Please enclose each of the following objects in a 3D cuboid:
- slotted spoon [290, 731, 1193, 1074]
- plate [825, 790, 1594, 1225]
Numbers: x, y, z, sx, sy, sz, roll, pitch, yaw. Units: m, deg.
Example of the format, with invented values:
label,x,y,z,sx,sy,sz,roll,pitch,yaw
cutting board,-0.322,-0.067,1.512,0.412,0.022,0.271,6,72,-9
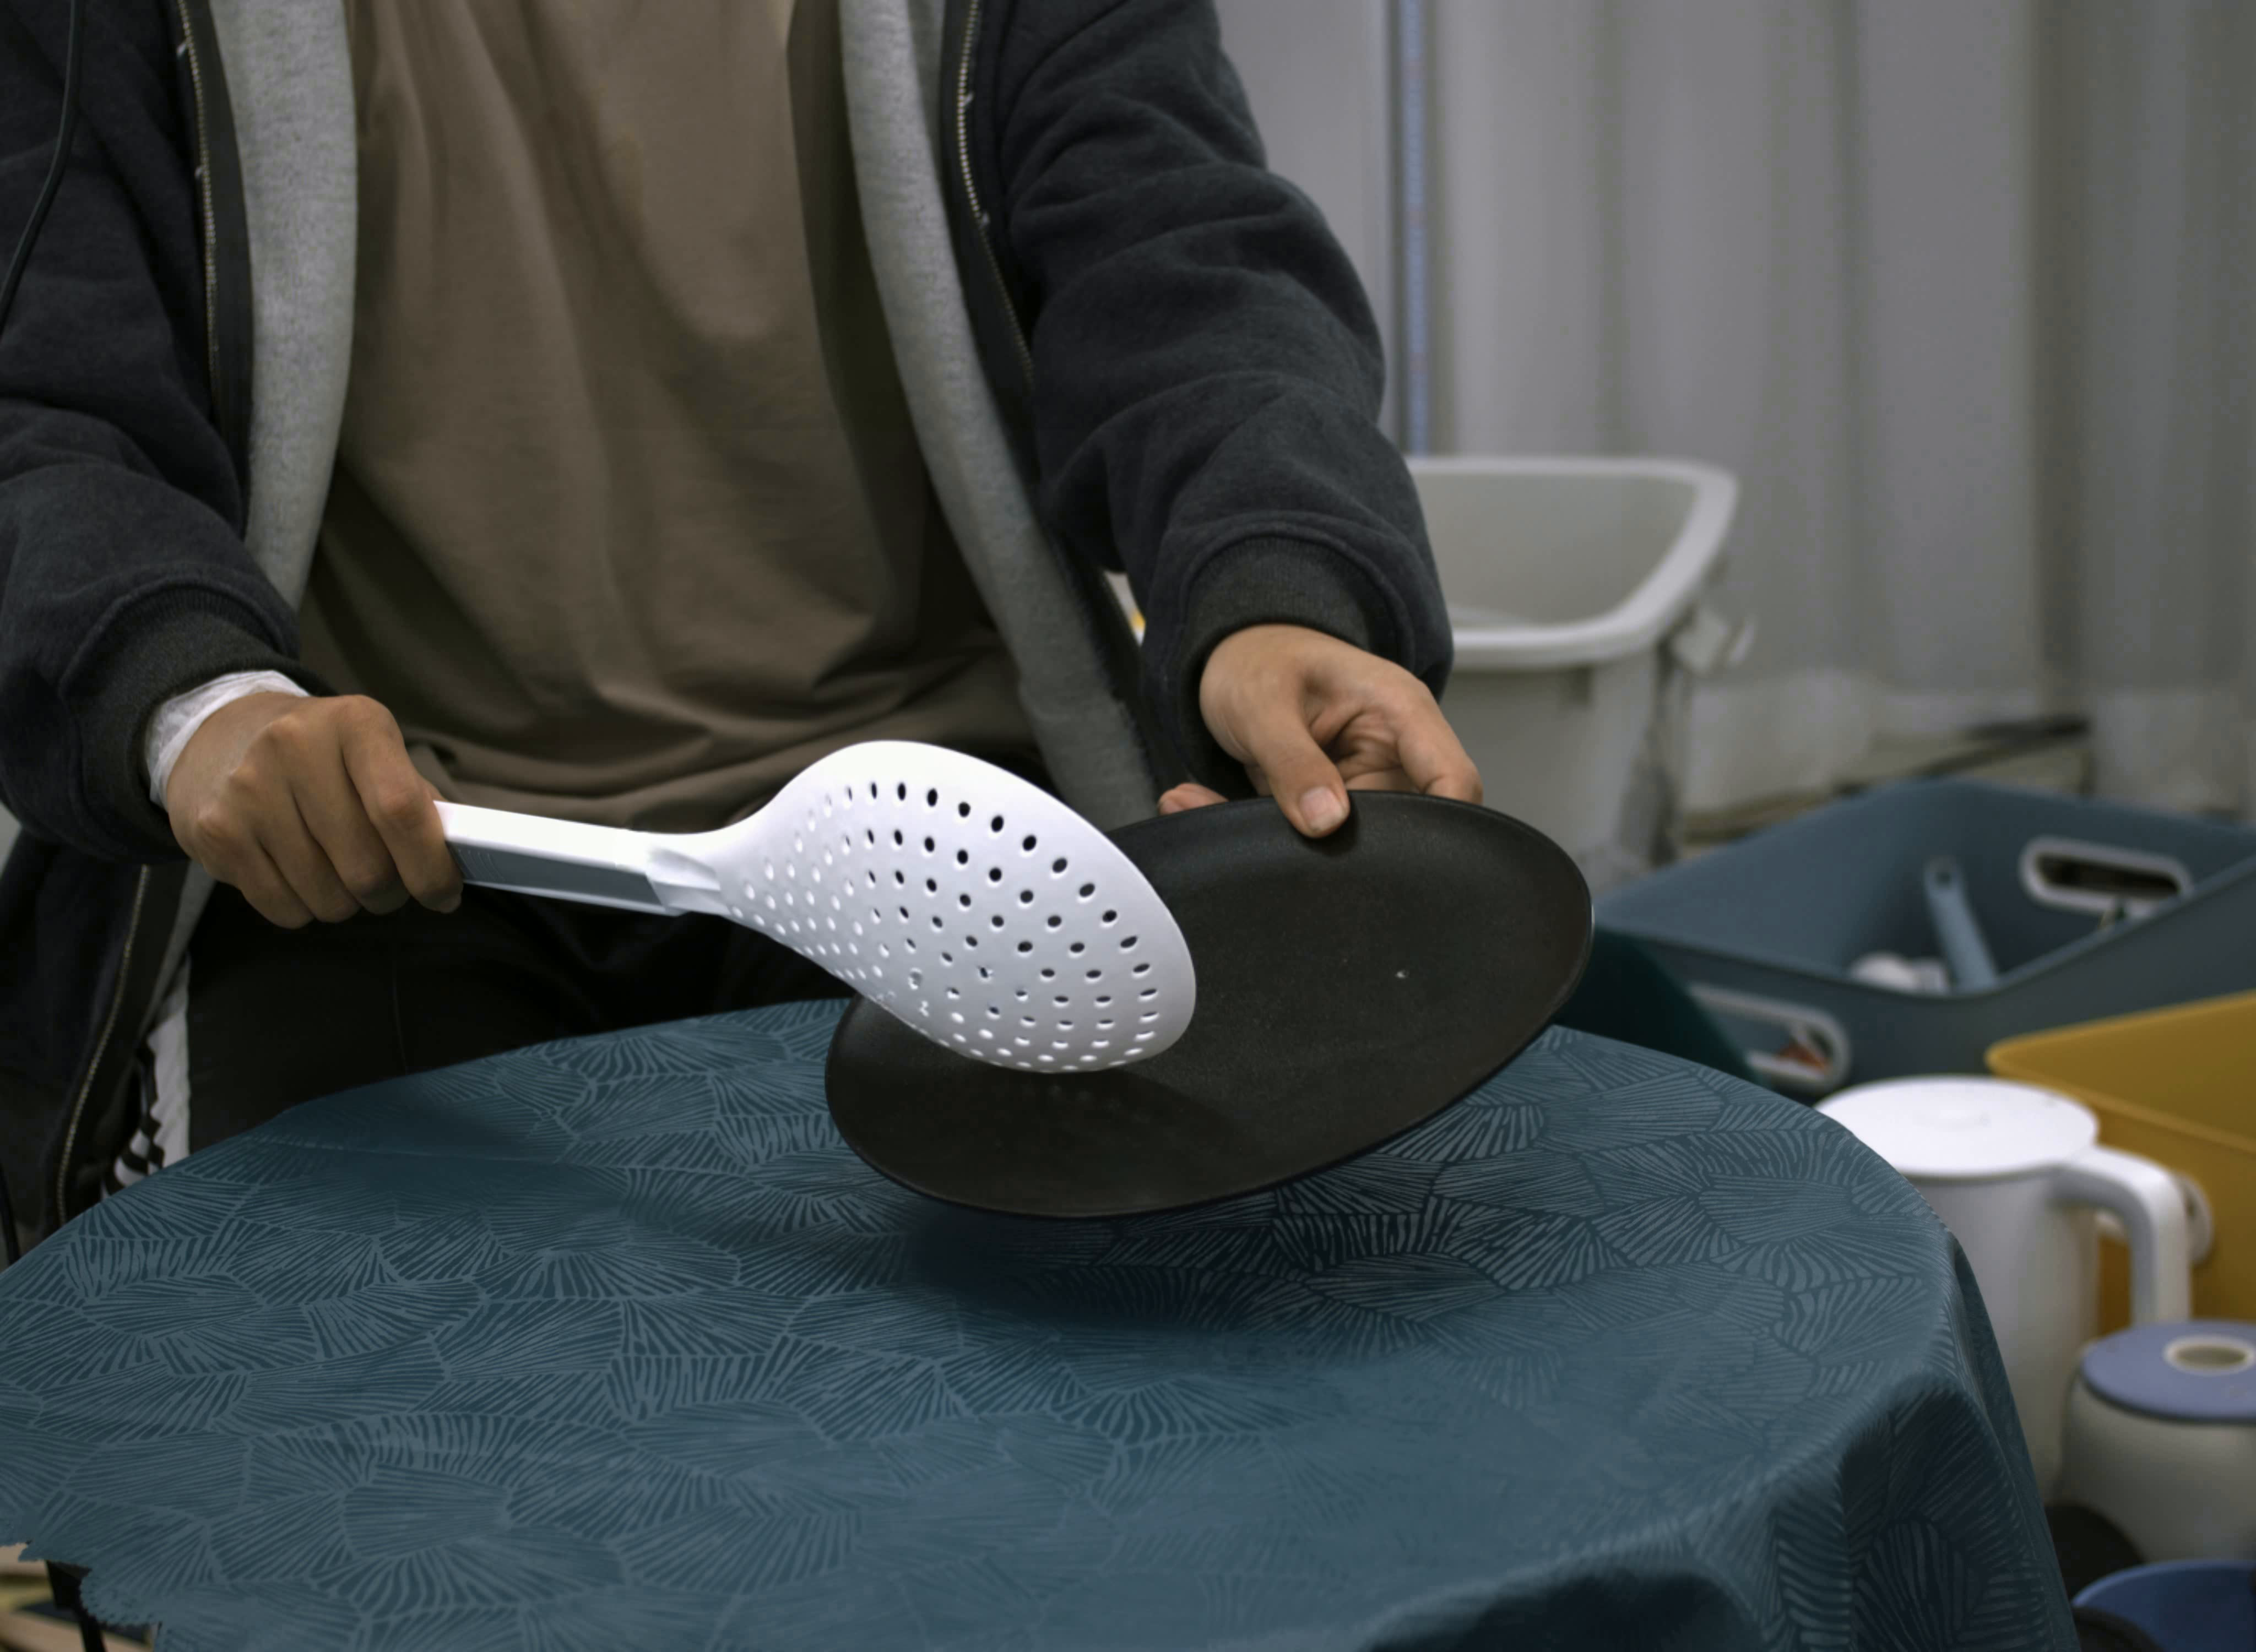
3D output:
label,x,y,z,sx,sy,sz,roll,pitch,yaw
slotted spoon,-0.130,0.015,1.702,0.351,0.134,0.046,12,49,39
plate,0.026,0.059,1.682,0.244,0.023,0.247,-12,27,6
